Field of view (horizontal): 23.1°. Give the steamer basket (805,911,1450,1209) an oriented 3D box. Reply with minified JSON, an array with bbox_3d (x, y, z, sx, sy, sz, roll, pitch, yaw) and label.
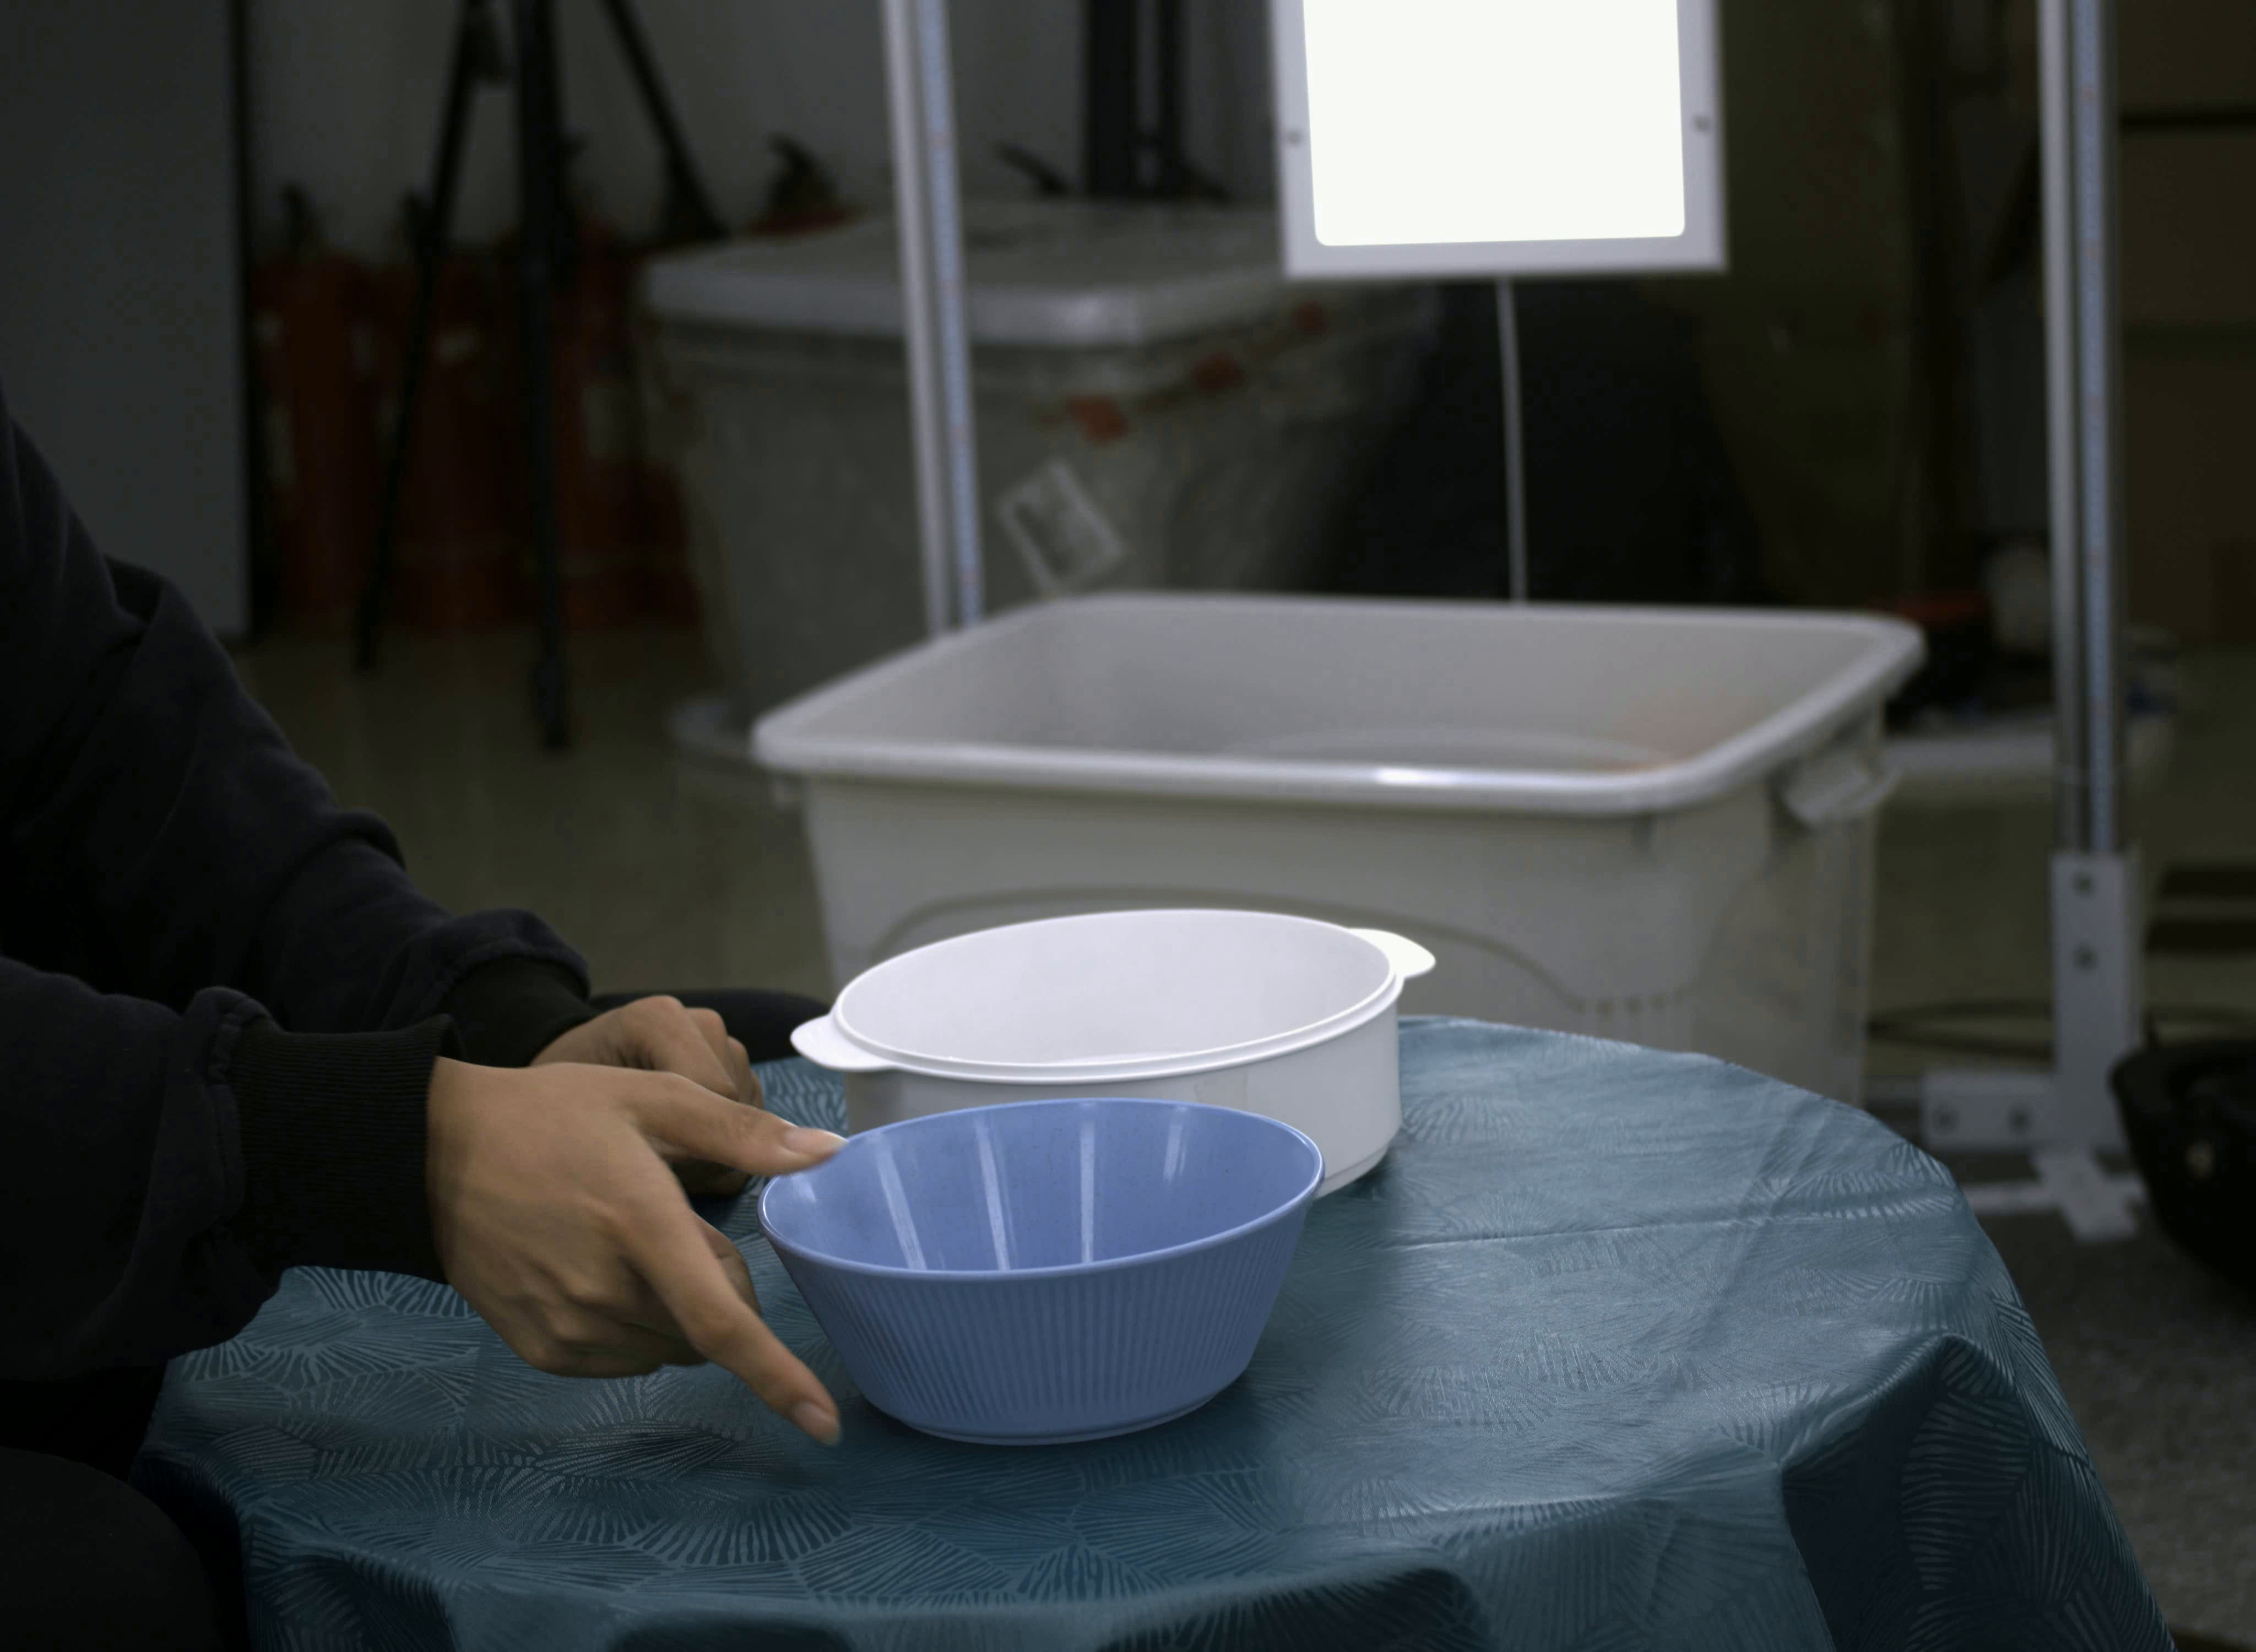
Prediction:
[{"bbox_3d":[0.003,0.085,1.921,0.227,0.069,0.204,-7,14,-18],"label":"steamer basket"}]

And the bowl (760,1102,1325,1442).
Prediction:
[{"bbox_3d":[-0.024,0.140,1.701,0.175,0.070,0.176,-5,13,0],"label":"bowl"}]
